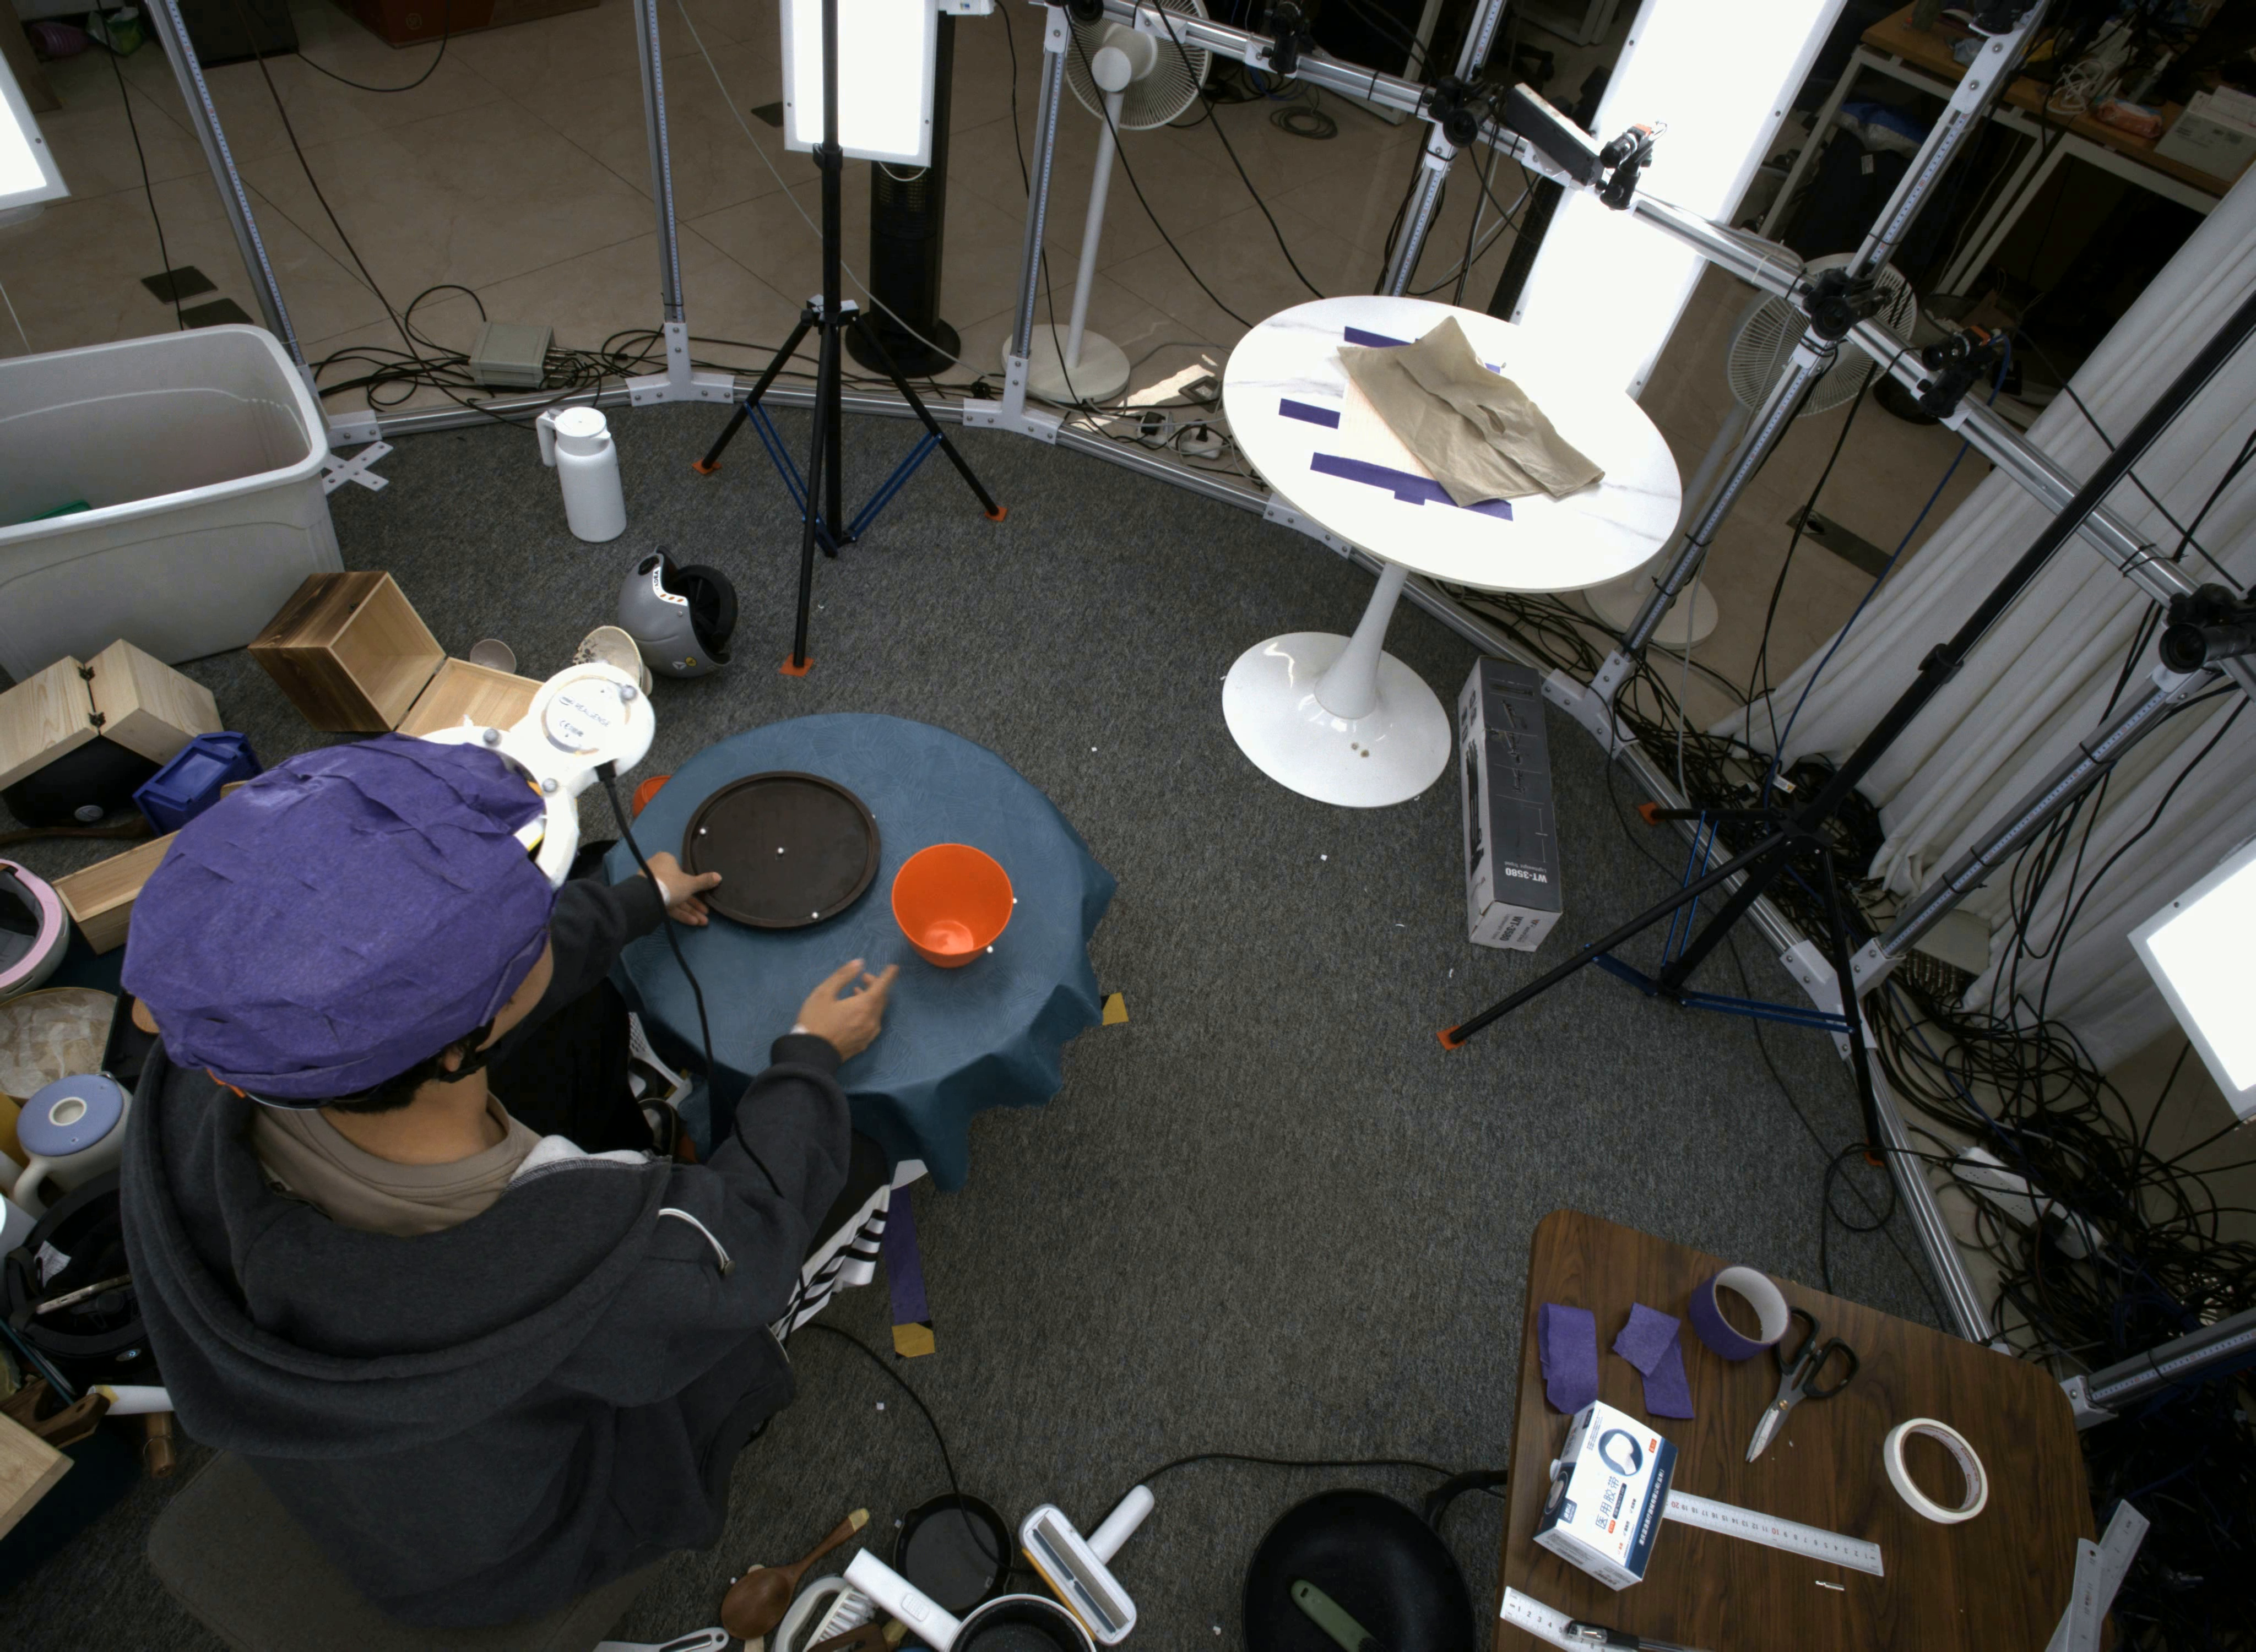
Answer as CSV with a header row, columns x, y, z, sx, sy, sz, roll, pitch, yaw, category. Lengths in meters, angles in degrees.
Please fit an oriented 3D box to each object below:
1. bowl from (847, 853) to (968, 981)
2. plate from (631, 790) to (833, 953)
x,y,z,sx,sy,sz,roll,pitch,yaw,category
-0.274,0.123,1.610,0.148,0.107,0.145,8,51,-9,bowl
-0.506,0.055,1.652,0.254,0.029,0.250,9,53,-10,plate
